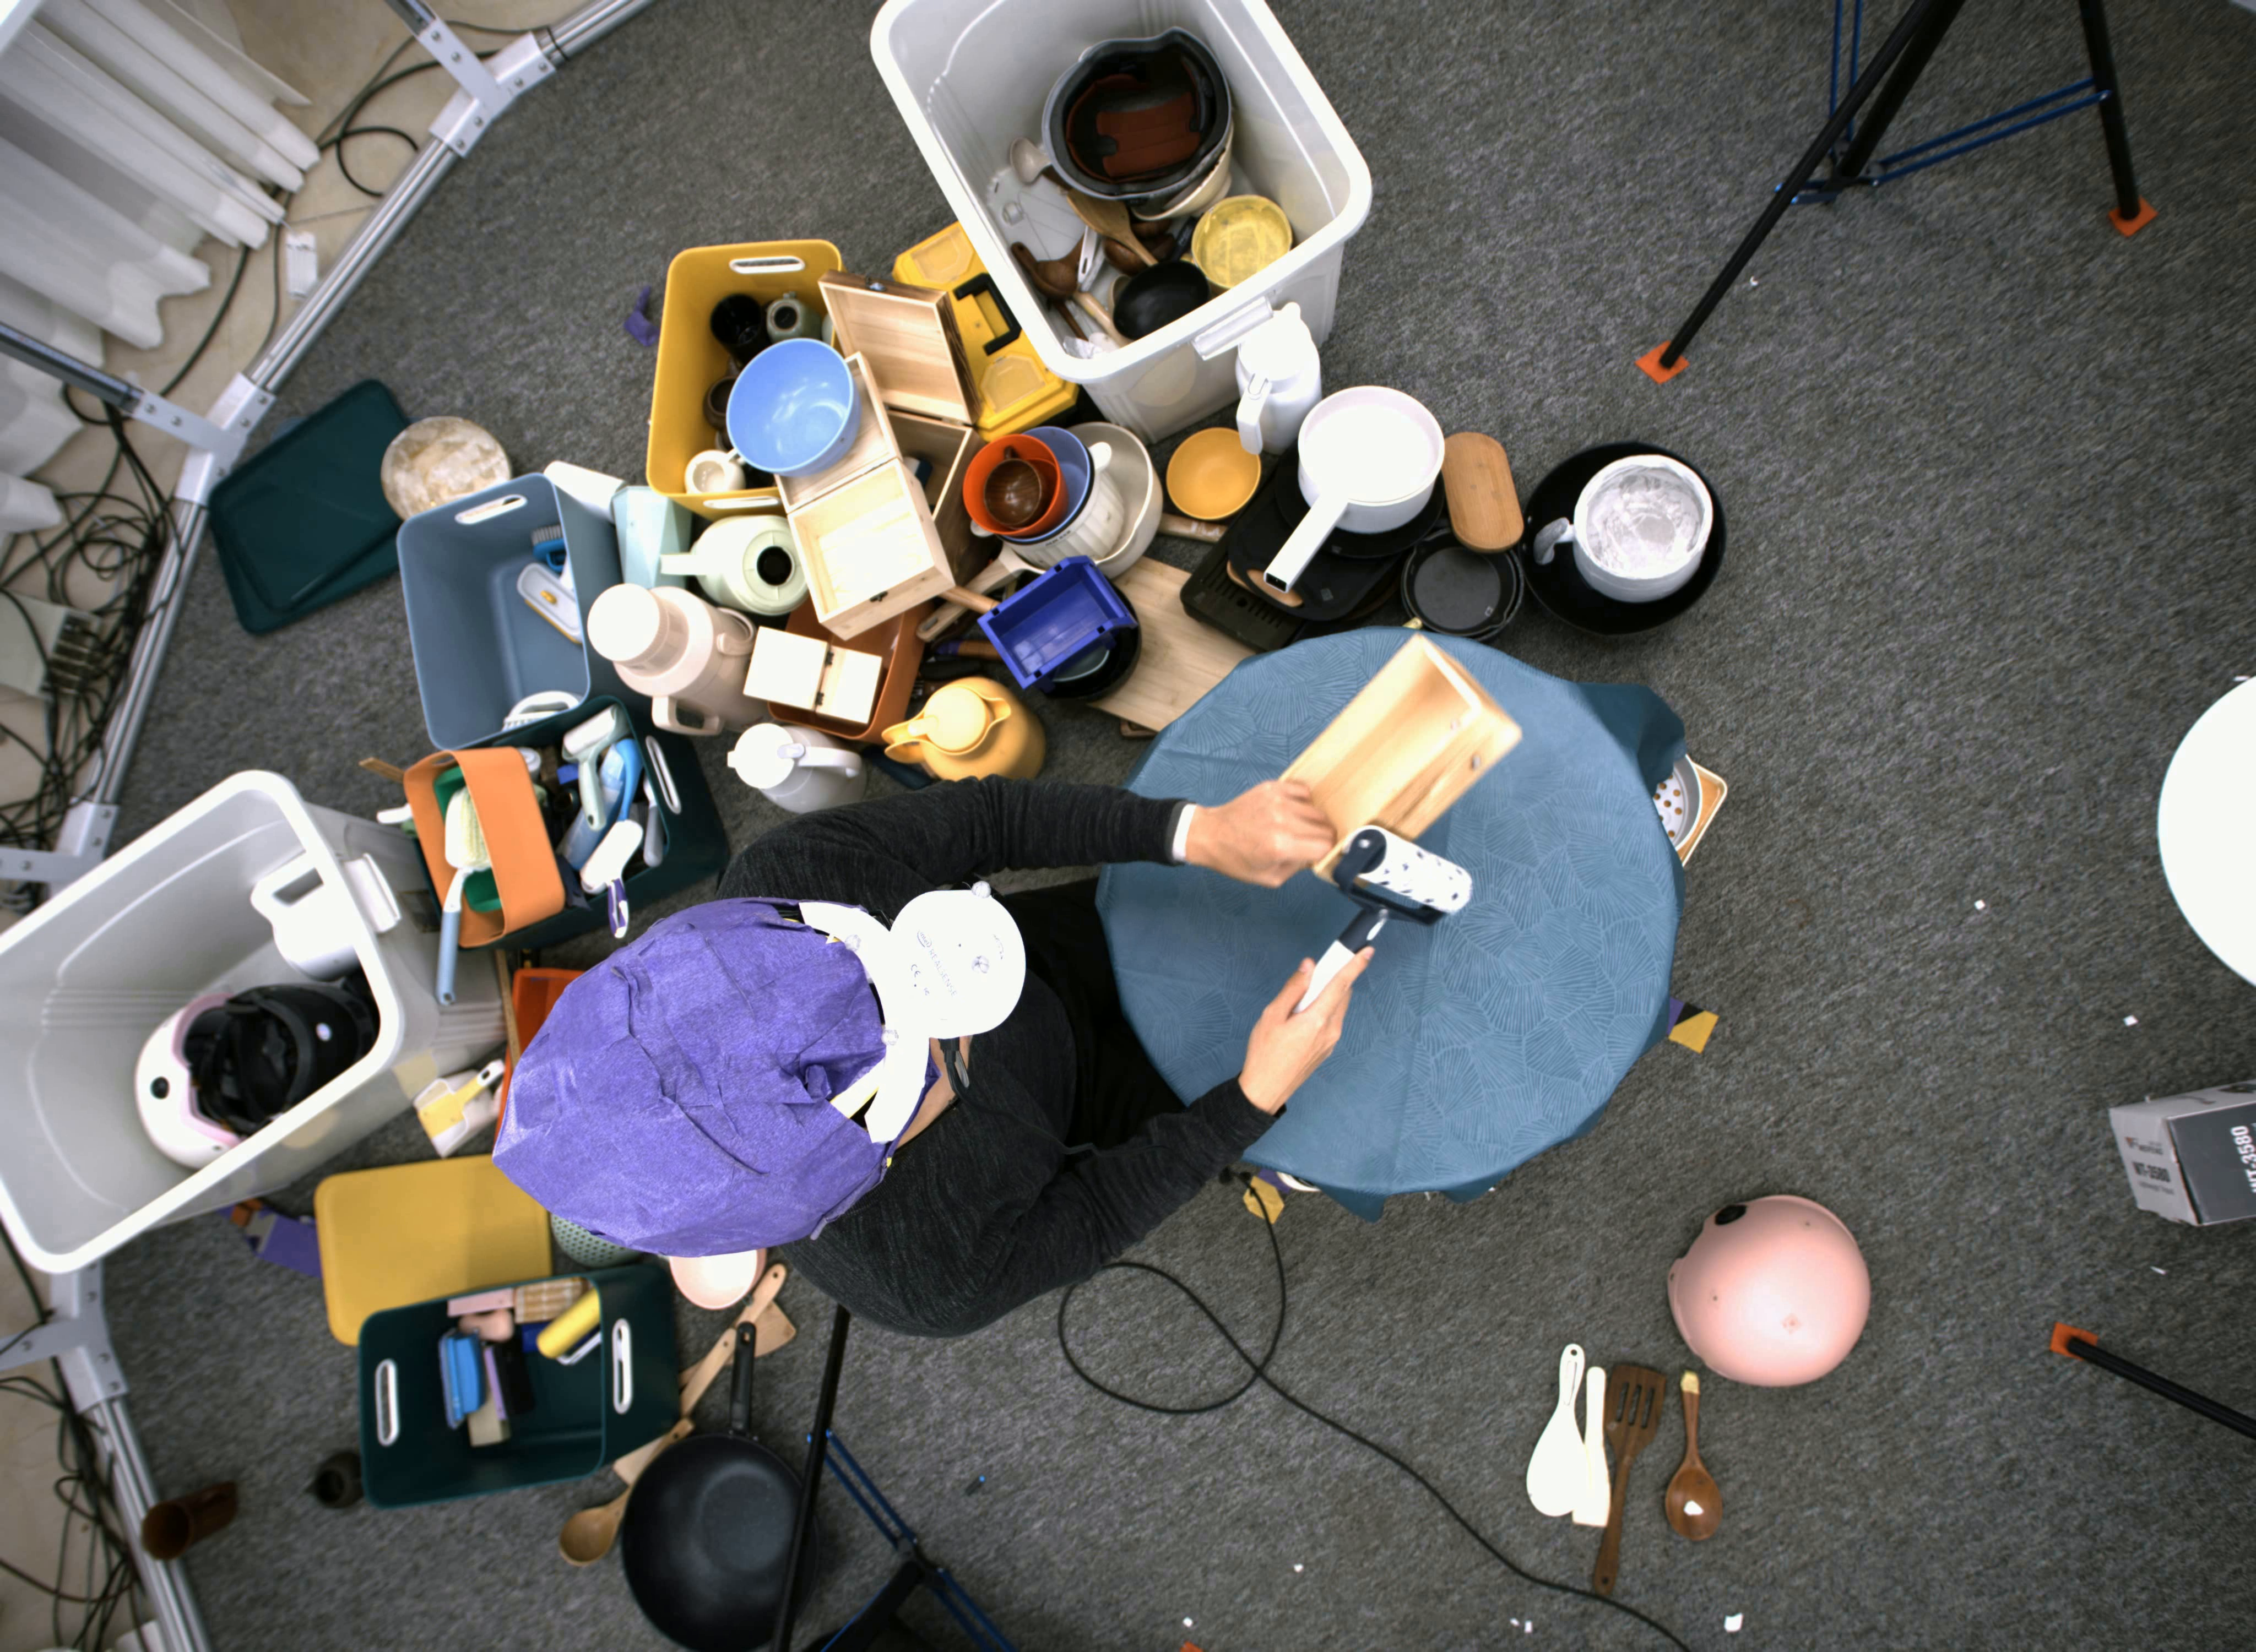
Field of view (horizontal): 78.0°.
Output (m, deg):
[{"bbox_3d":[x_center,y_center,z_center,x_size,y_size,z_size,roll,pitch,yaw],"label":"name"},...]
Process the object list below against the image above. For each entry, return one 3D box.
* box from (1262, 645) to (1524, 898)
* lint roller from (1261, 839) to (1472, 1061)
[{"bbox_3d":[0.240,-0.048,1.265,0.215,0.080,0.105,-46,51,22],"label":"box"},{"bbox_3d":[0.209,0.127,1.289,0.050,0.176,0.250,45,108,34],"label":"lint roller"}]
